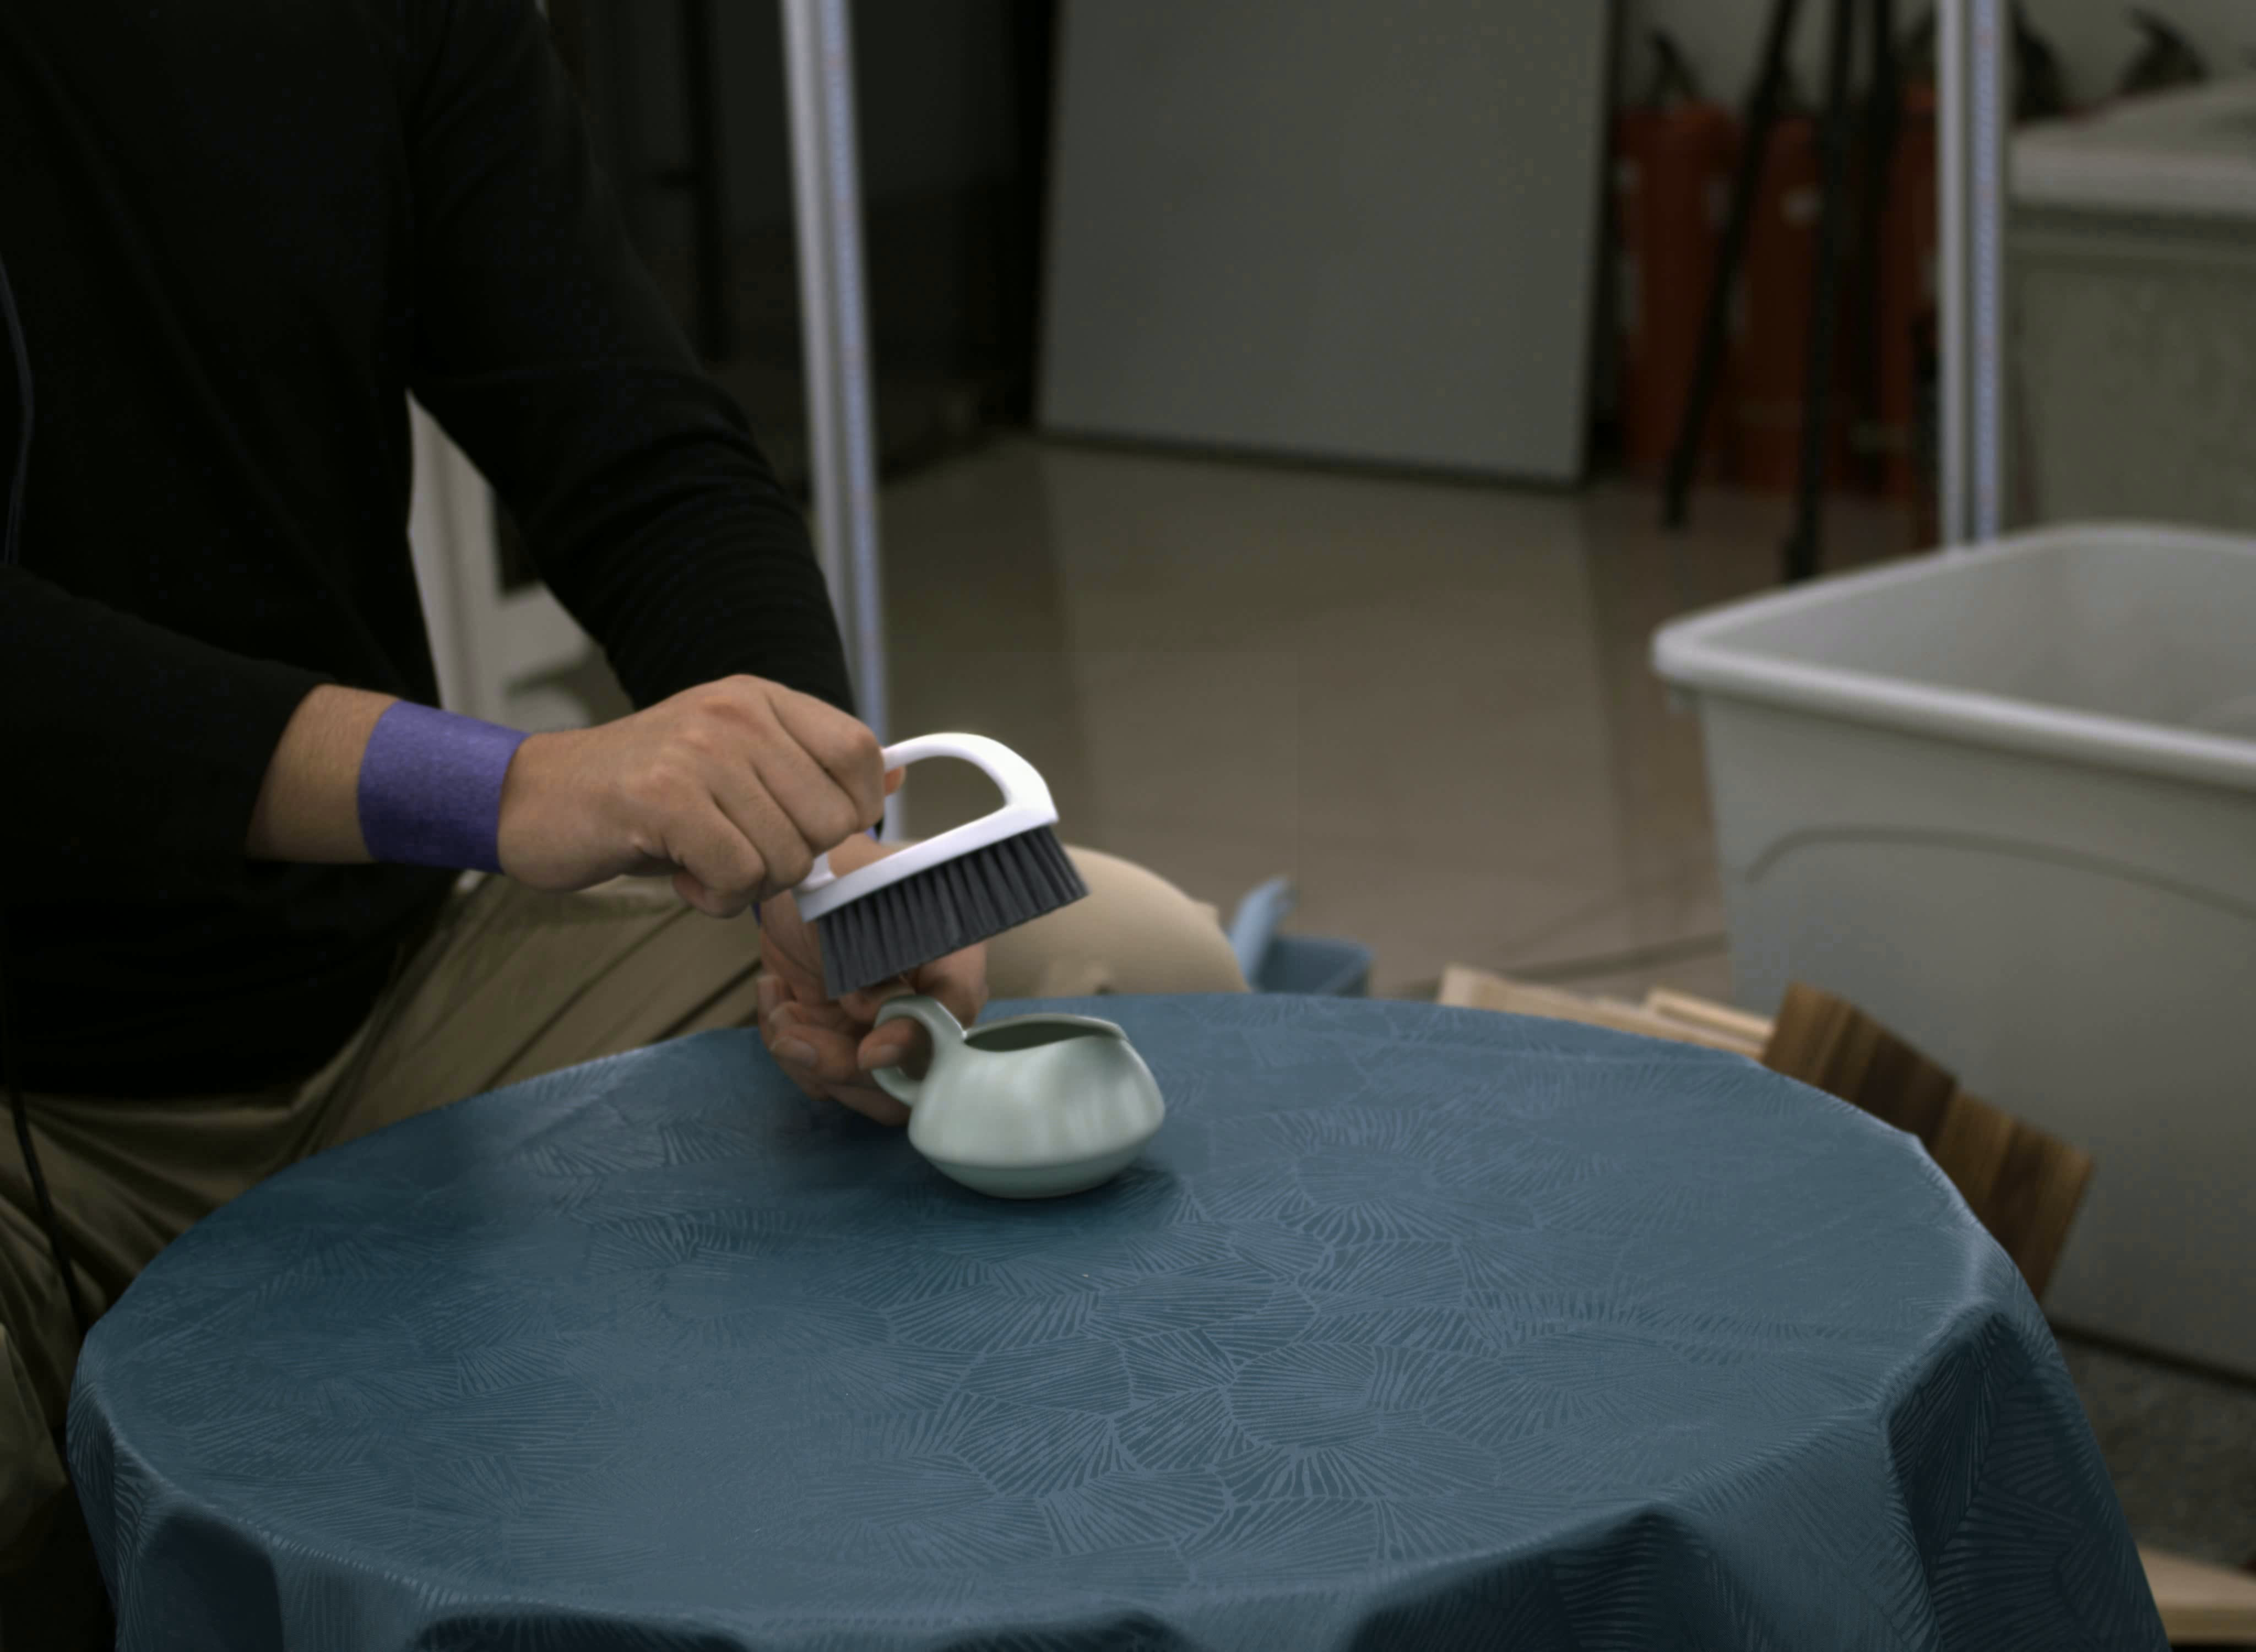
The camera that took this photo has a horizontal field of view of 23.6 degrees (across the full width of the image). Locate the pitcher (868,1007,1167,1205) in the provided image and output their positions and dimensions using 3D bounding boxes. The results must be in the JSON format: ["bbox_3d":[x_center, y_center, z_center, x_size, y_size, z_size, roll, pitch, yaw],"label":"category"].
[{"bbox_3d":[-0.040,0.091,1.787,0.108,0.061,0.084,0,13,32],"label":"pitcher"}]

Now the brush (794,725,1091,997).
[{"bbox_3d":[-0.068,0.006,1.798,0.099,0.073,0.049,-23,-3,29],"label":"brush"}]
